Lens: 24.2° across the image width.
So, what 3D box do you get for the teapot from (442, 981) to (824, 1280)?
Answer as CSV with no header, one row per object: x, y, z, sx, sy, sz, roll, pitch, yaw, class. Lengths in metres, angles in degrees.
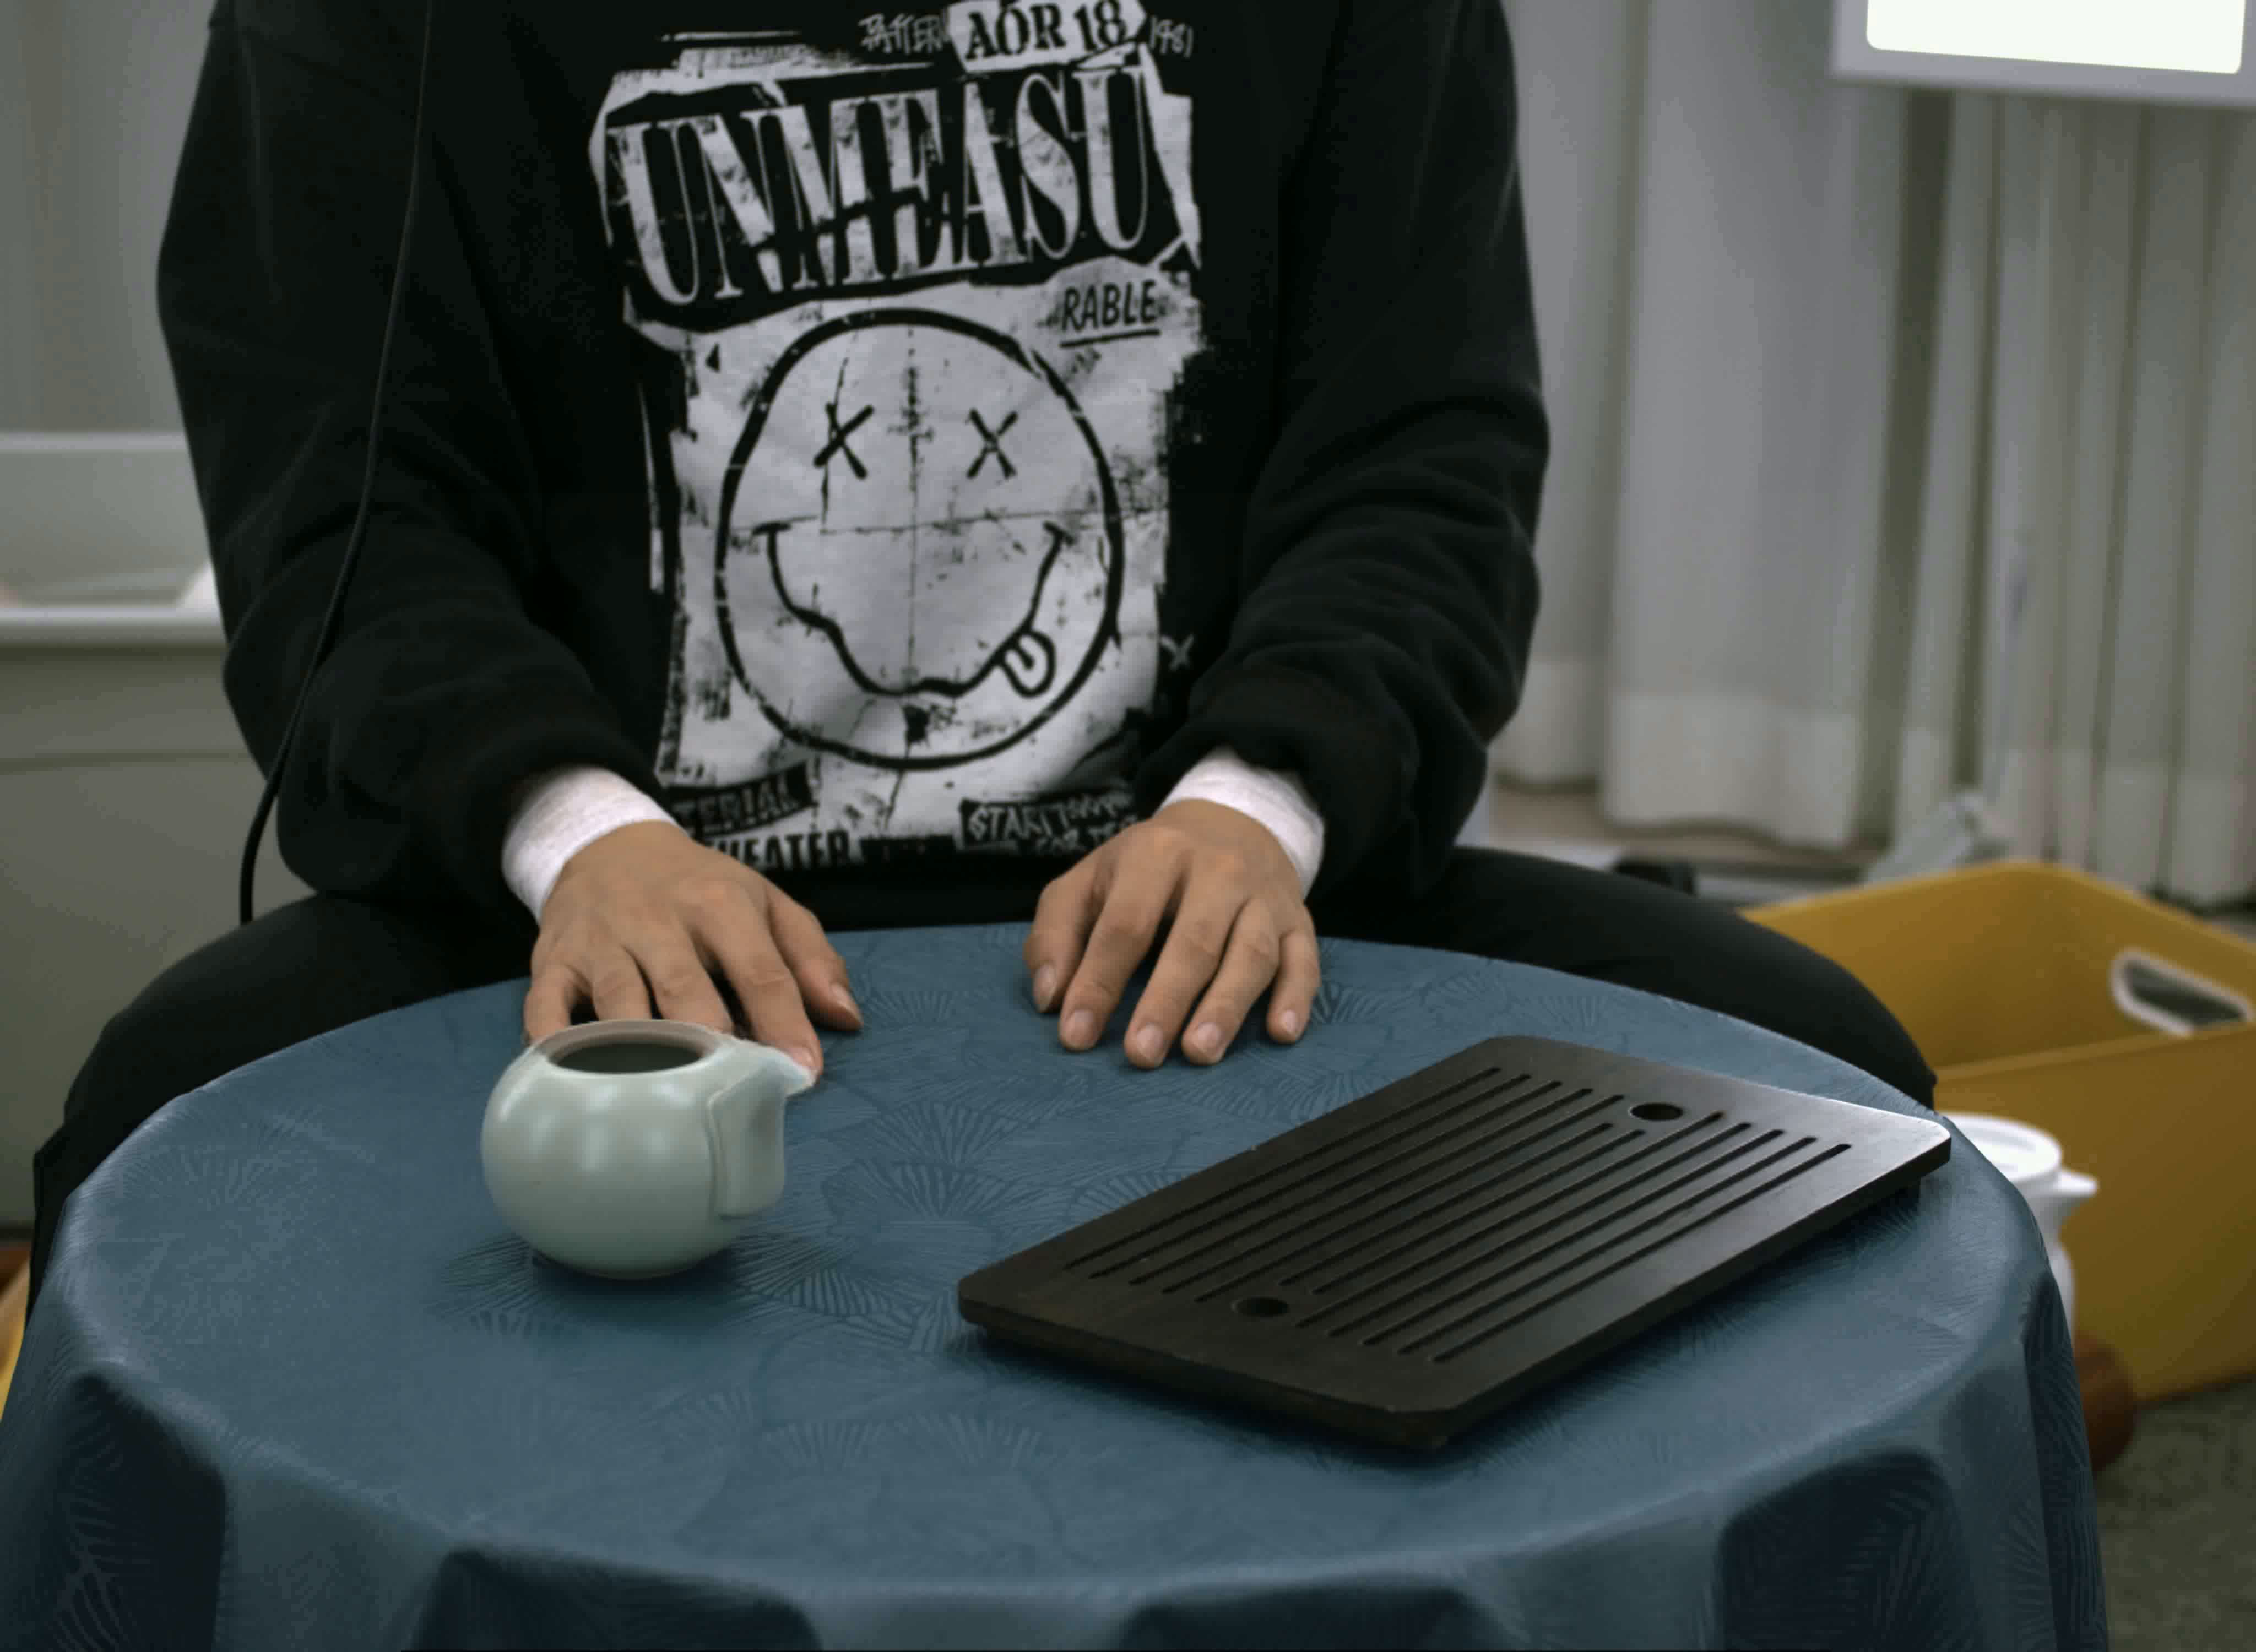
-0.146,0.092,1.553,0.142,0.075,0.089,13,21,35,teapot

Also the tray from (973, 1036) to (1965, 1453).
0.107,0.120,1.563,0.168,0.019,0.307,11,19,35,tray
